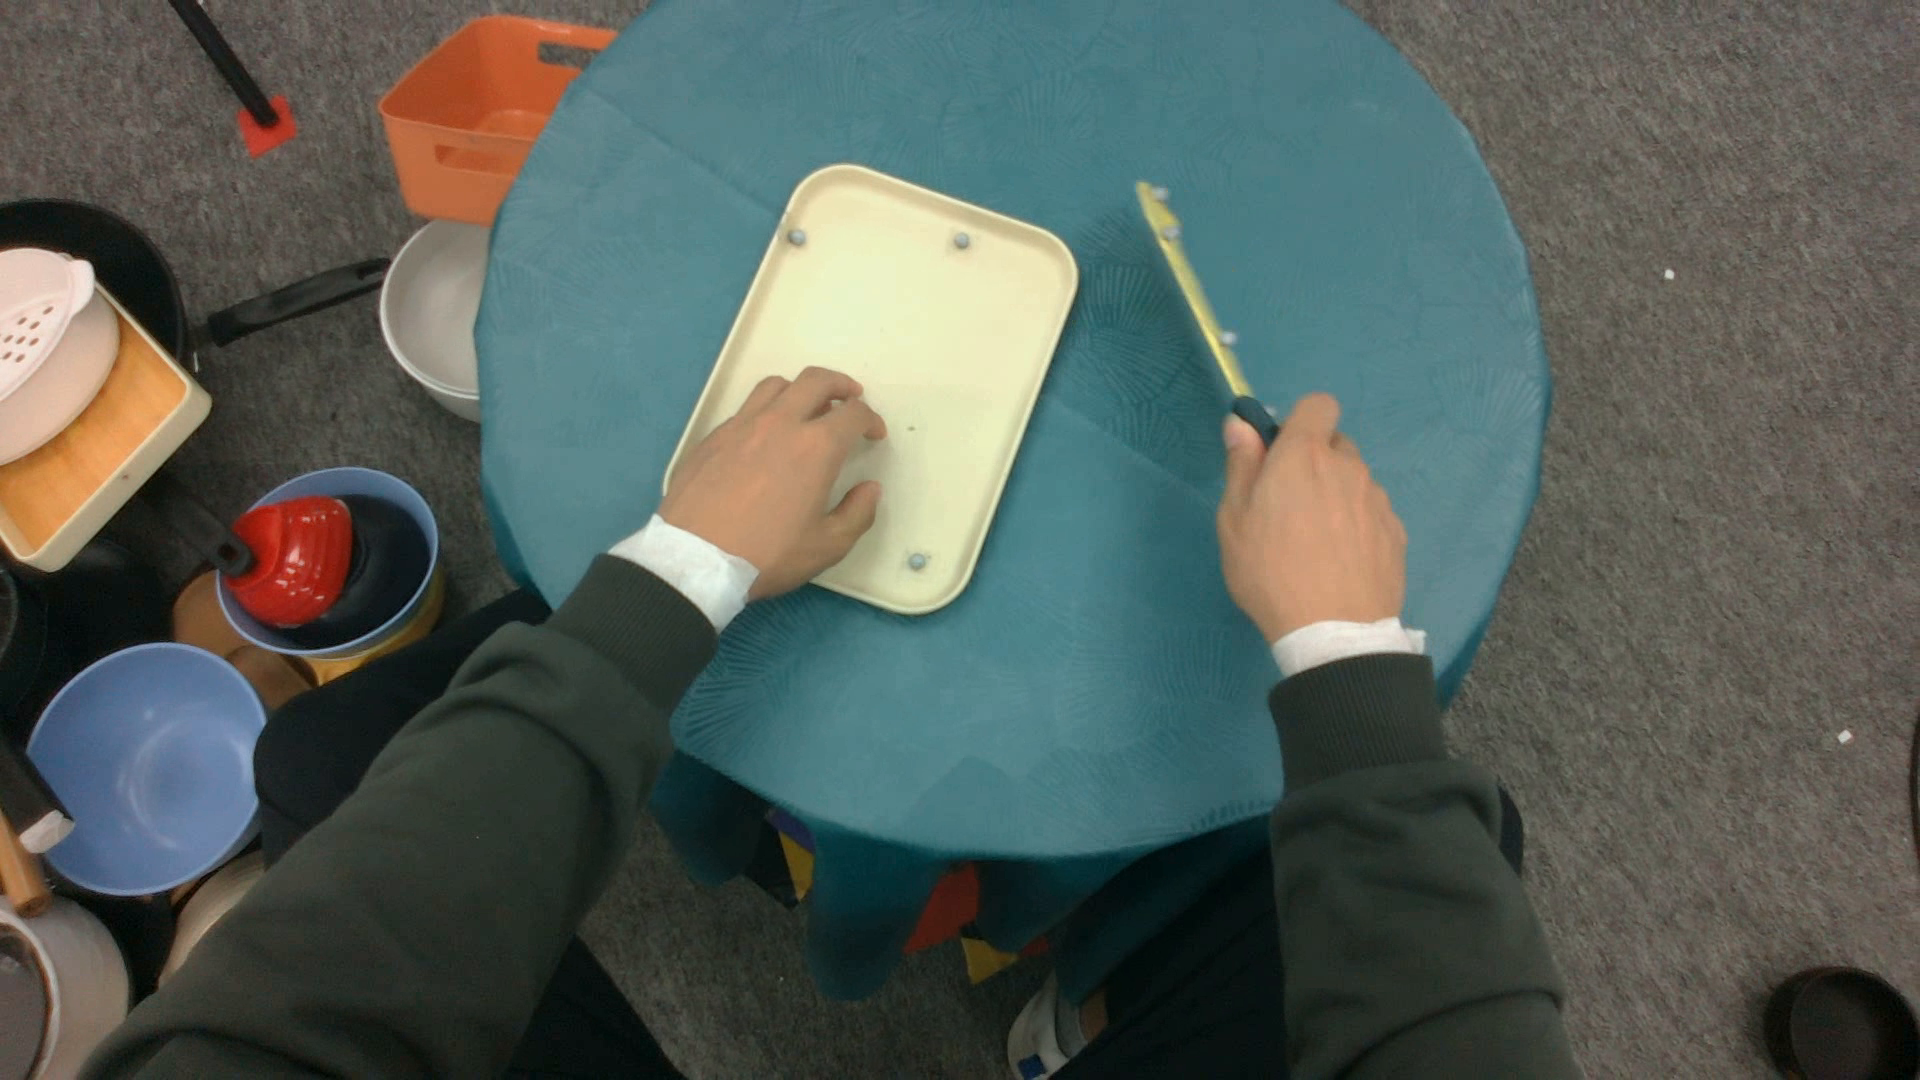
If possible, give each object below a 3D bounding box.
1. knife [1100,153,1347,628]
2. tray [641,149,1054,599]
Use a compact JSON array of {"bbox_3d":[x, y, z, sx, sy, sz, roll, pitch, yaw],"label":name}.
[{"bbox_3d":[0.131,-0.085,0.716,0.027,0.081,0.290,-28,71,17],"label":"knife"},{"bbox_3d":[-0.057,-0.094,0.749,0.171,0.017,0.240,19,72,2],"label":"tray"}]
